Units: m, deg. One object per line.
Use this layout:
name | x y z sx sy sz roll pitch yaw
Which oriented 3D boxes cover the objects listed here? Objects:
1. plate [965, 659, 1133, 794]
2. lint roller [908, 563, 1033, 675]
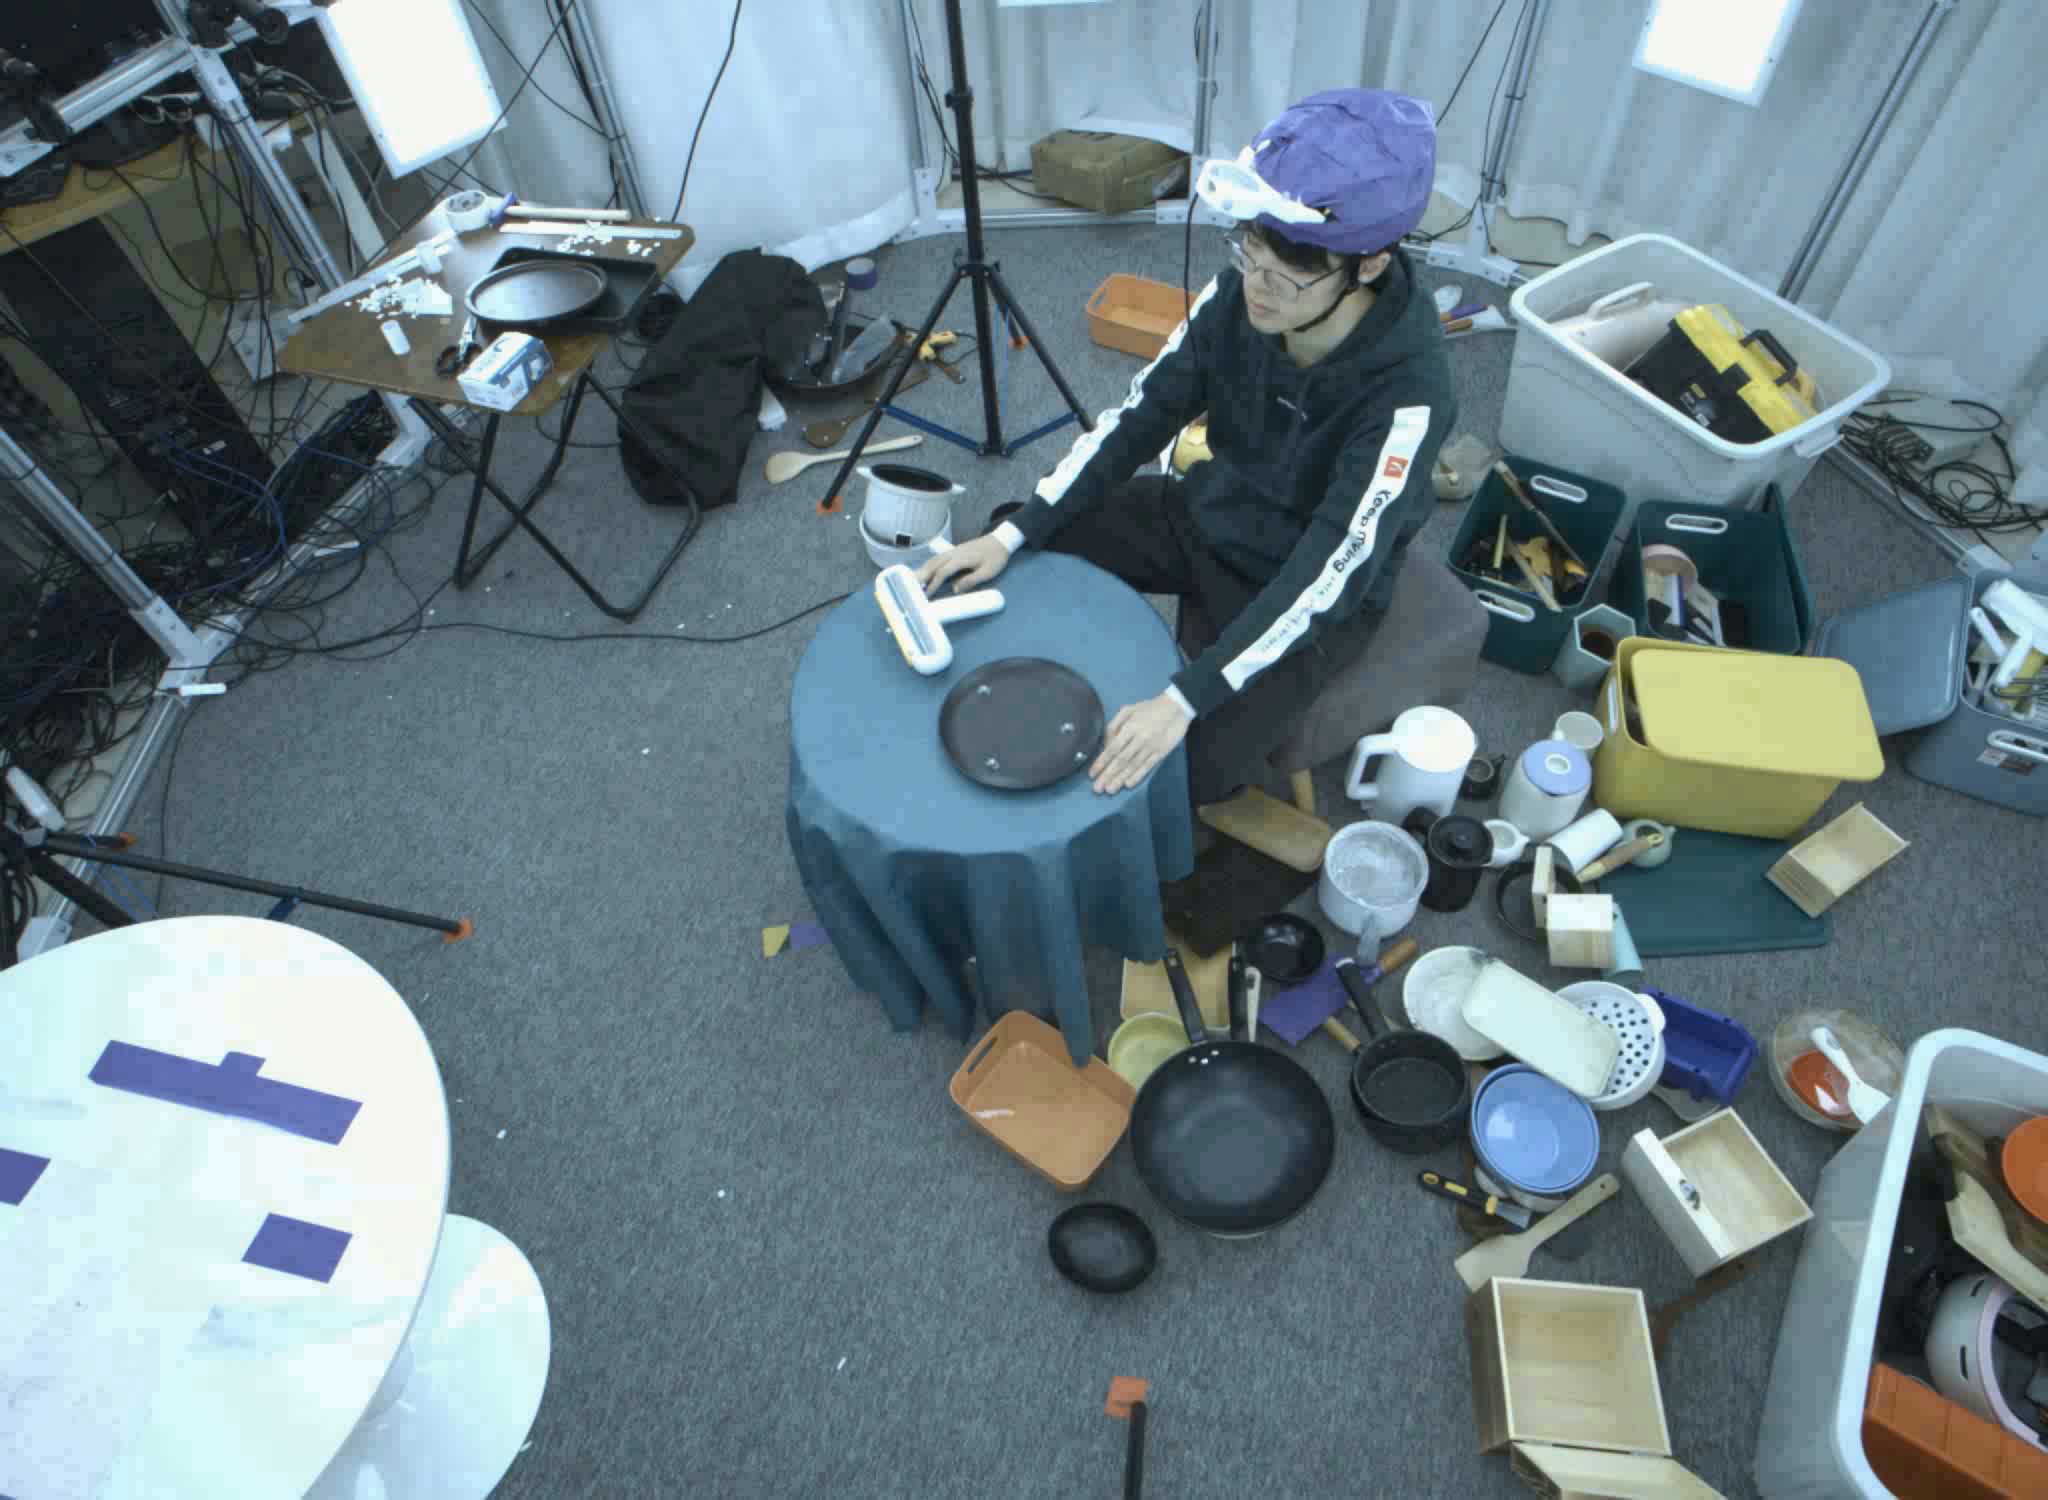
plate | 0.036 -0.033 1.791 0.244 0.024 0.242 0 55 2
lint roller | -0.073 -0.206 1.913 0.195 0.074 0.190 -9 60 -22
